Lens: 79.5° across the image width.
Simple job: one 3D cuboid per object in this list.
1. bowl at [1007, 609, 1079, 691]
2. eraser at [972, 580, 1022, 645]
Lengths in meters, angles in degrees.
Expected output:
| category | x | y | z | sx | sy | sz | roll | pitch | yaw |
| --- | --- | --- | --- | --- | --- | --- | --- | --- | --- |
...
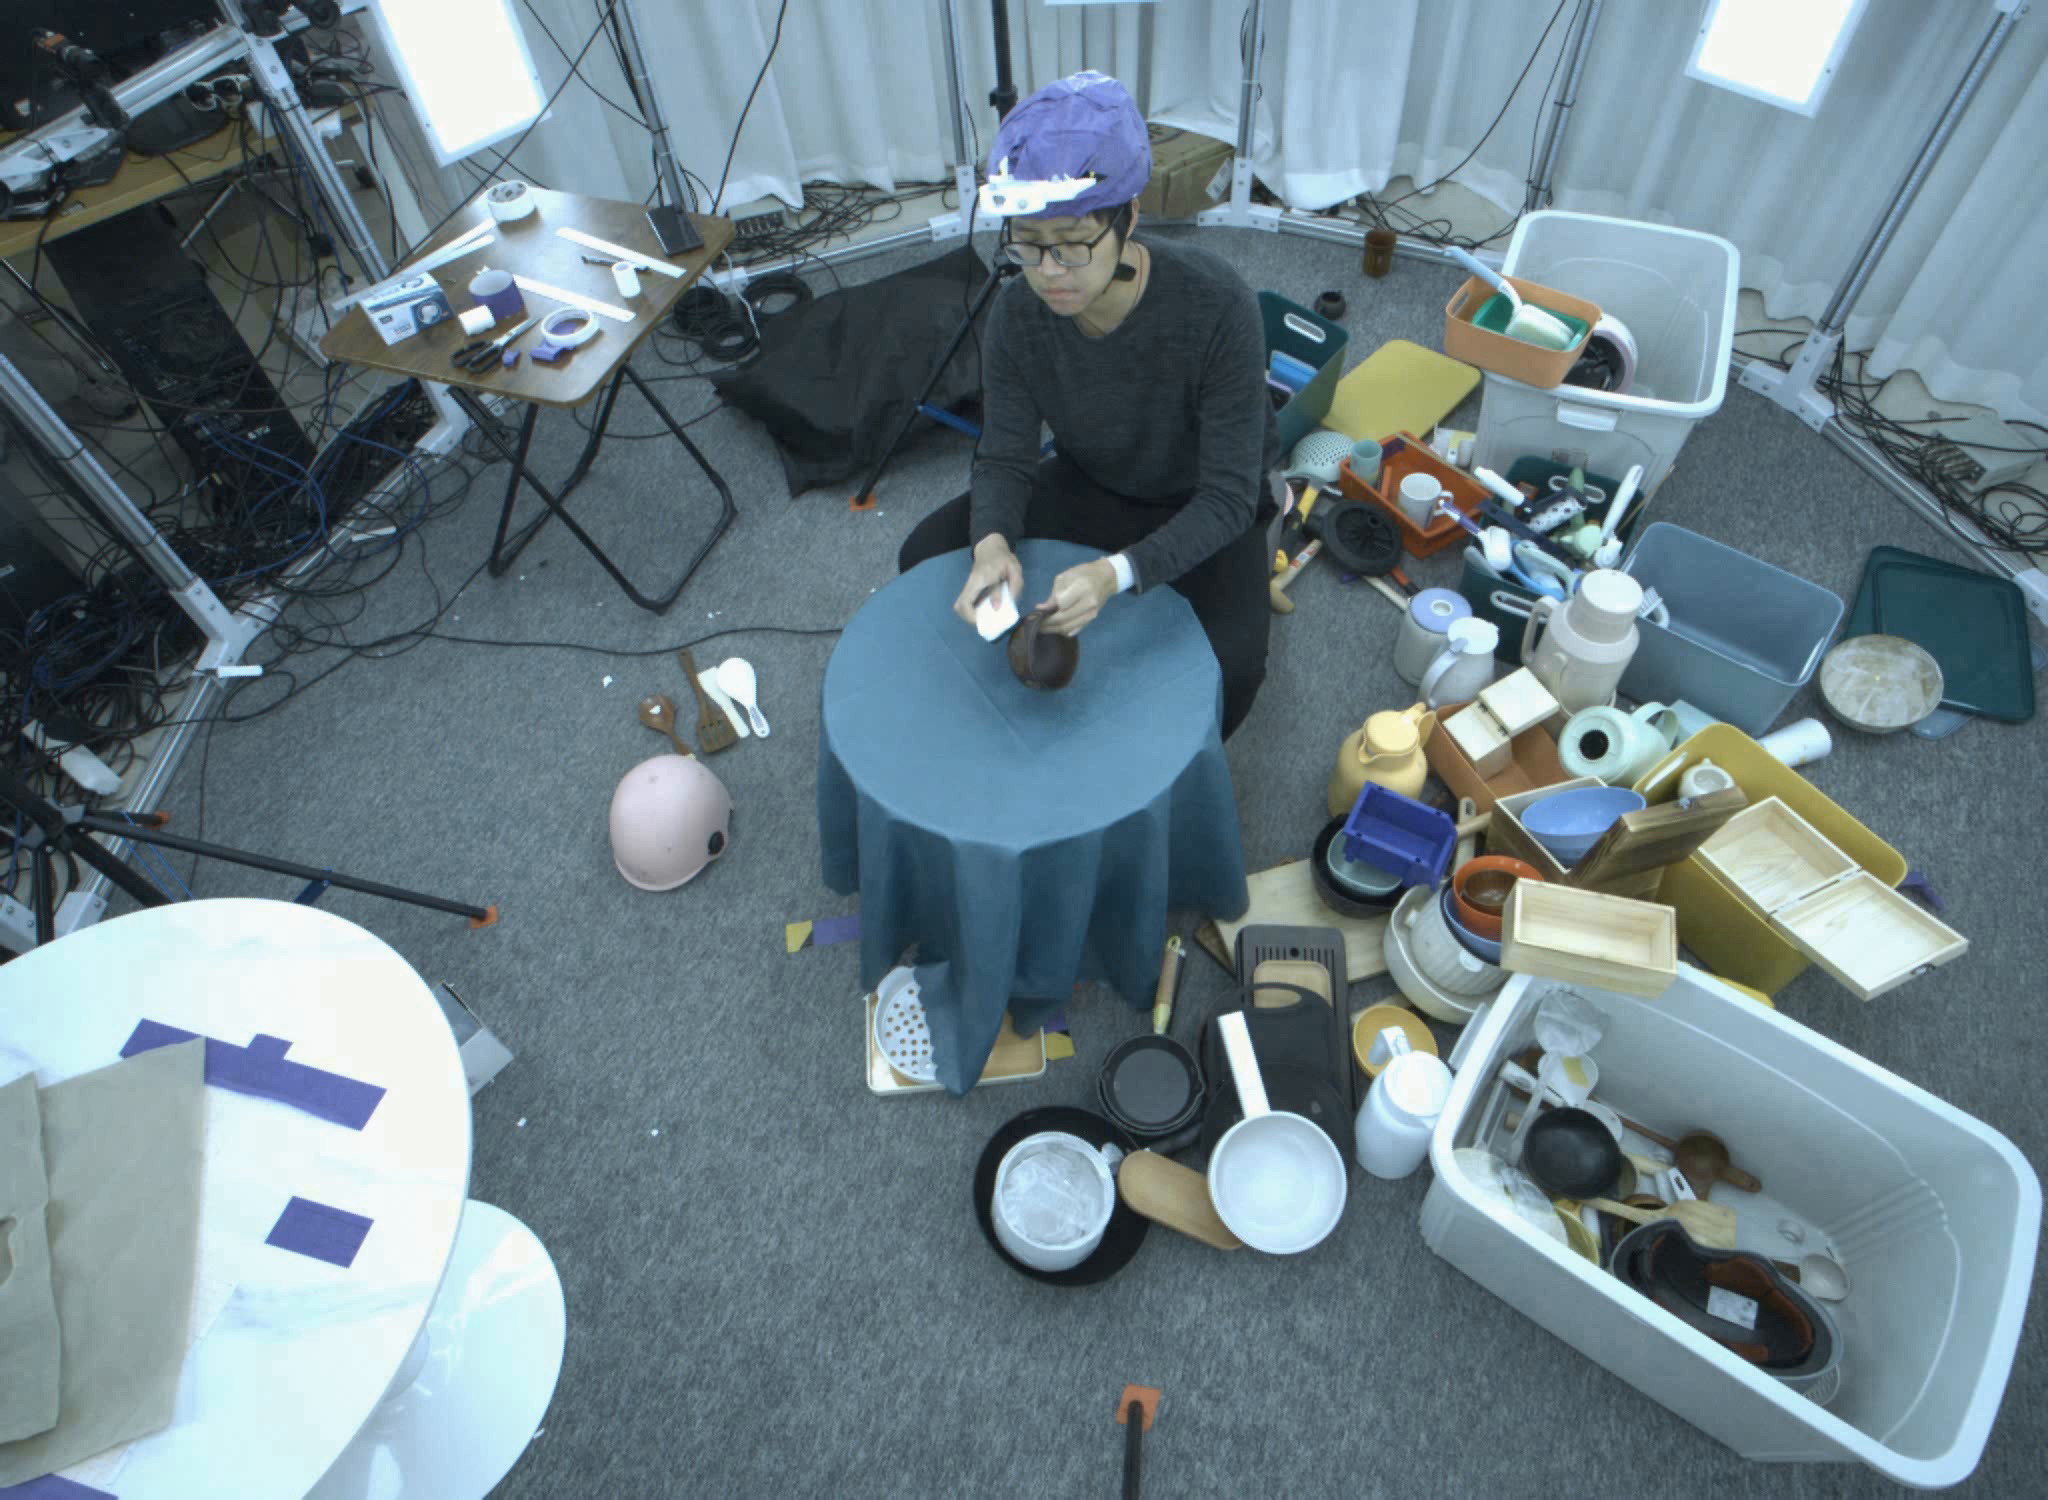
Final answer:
| category | x | y | z | sx | sy | sz | roll | pitch | yaw |
| --- | --- | --- | --- | --- | --- | --- | --- | --- | --- |
| bowl | 0.019 | -0.144 | 1.771 | 0.068 | 0.120 | 0.118 | 4 | 52 | 36 |
| eraser | -0.040 | -0.202 | 1.773 | 0.063 | 0.035 | 0.129 | -34 | 31 | 13 |
